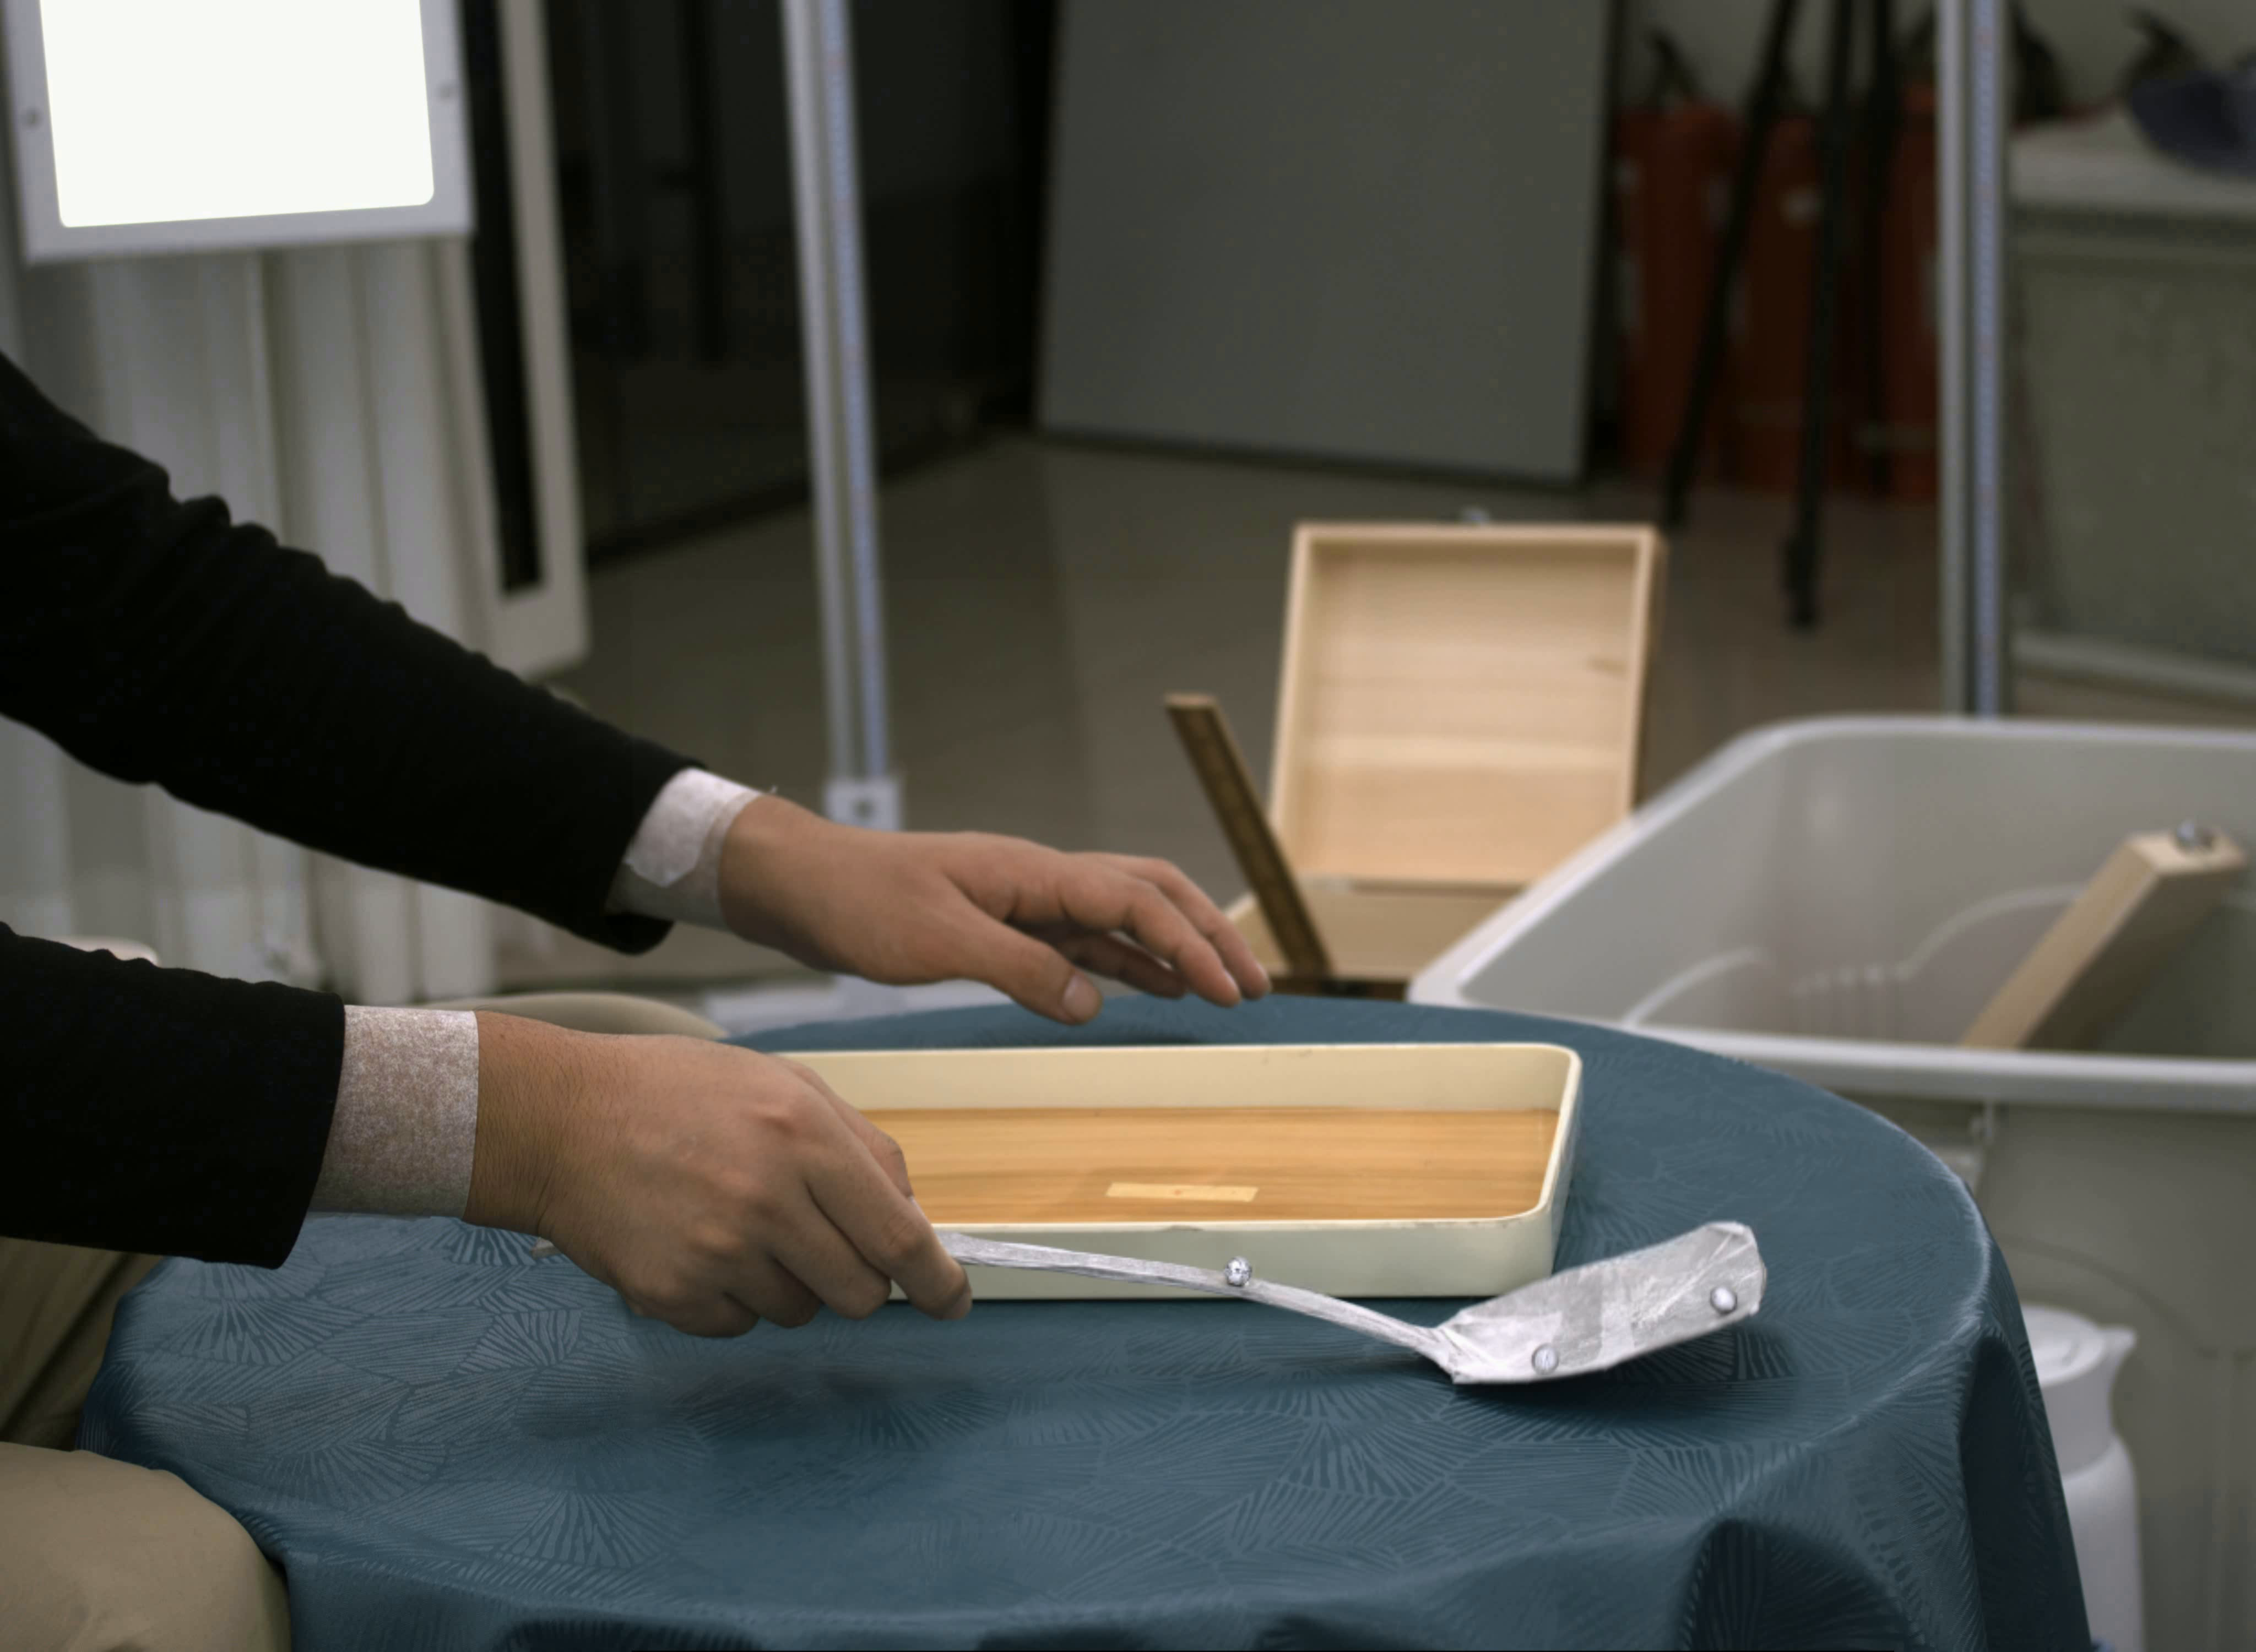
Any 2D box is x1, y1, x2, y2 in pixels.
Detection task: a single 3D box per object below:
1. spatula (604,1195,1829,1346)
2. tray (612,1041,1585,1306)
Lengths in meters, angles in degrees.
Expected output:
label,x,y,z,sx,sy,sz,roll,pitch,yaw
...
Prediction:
label,x,y,z,sx,sy,sz,roll,pitch,yaw
spatula,0.026,0.131,1.583,0.359,0.045,0.099,1,-6,-2
tray,-0.004,0.112,1.751,0.298,0.028,0.191,-2,14,11
